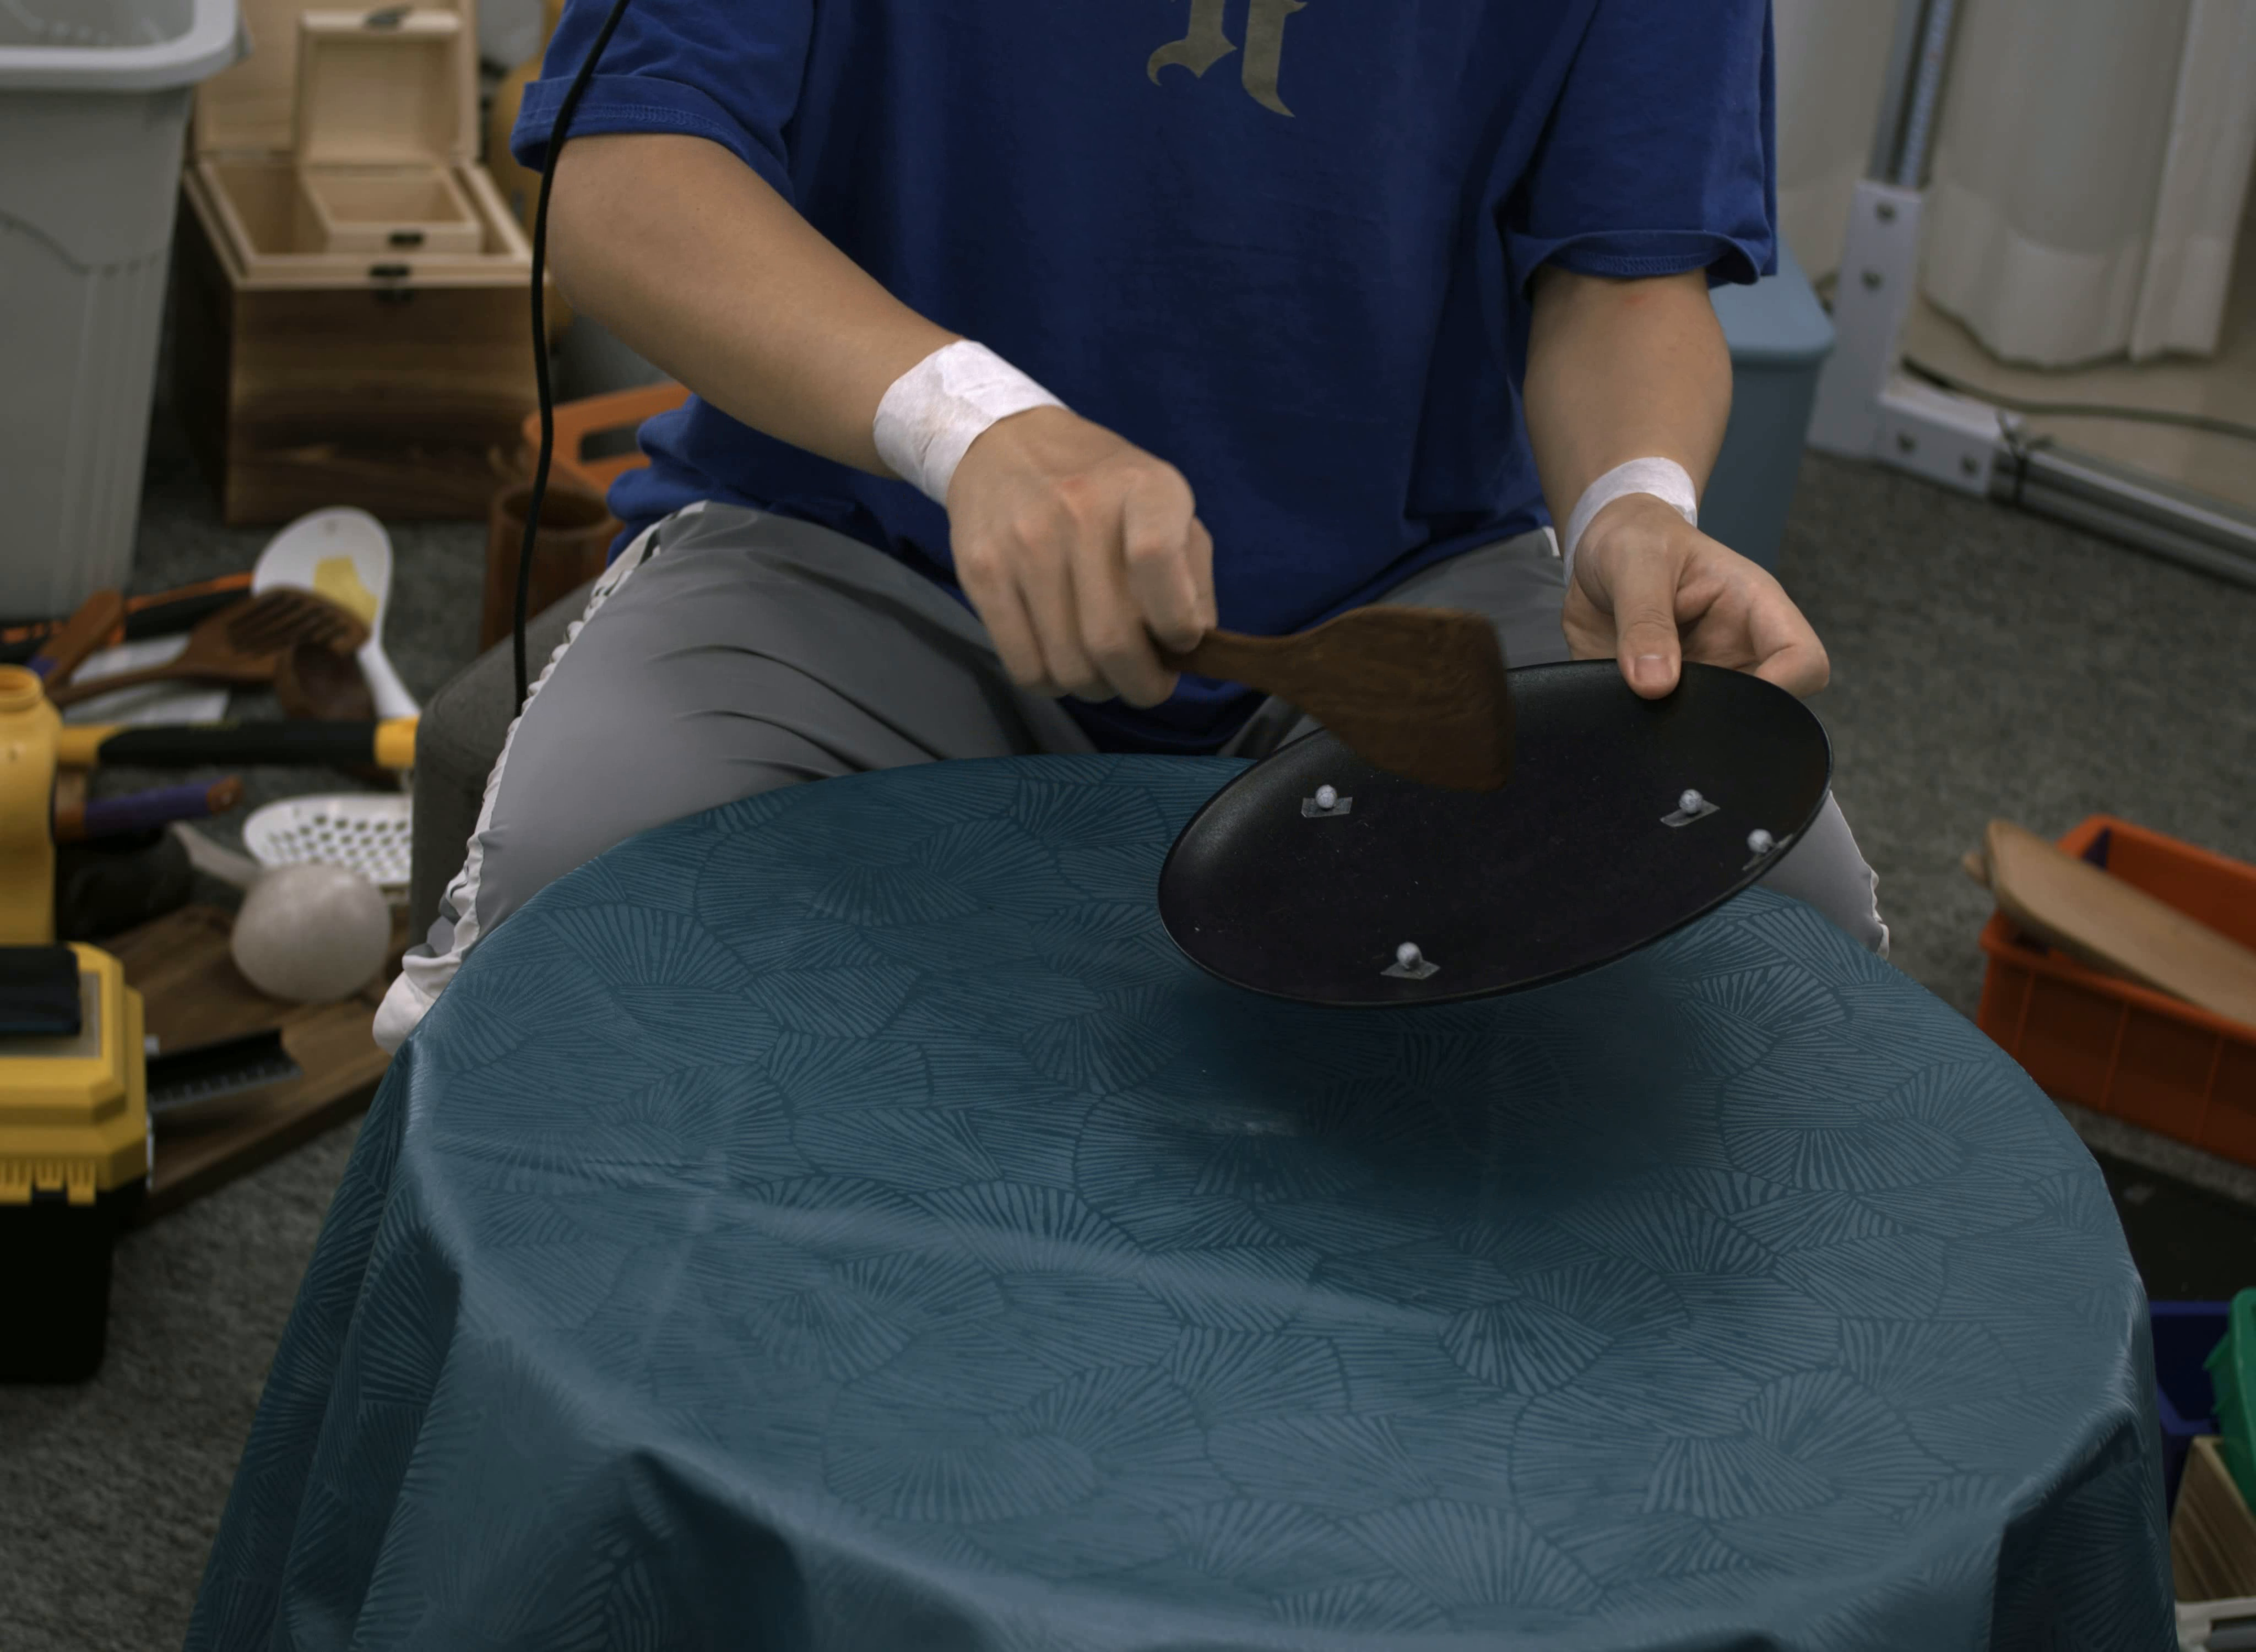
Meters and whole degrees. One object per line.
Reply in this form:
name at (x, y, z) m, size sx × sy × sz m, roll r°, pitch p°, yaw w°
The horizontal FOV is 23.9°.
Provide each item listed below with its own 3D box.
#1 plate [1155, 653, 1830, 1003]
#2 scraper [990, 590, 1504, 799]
plate at (0.129, 0.005, 1.873) m, size 0.244 × 0.023 × 0.246 m, roll -14°, pitch 25°, yaw 6°
scraper at (0.038, -0.056, 1.868) m, size 0.212 × 0.075 × 0.011 m, roll 12°, pitch 38°, yaw 33°
